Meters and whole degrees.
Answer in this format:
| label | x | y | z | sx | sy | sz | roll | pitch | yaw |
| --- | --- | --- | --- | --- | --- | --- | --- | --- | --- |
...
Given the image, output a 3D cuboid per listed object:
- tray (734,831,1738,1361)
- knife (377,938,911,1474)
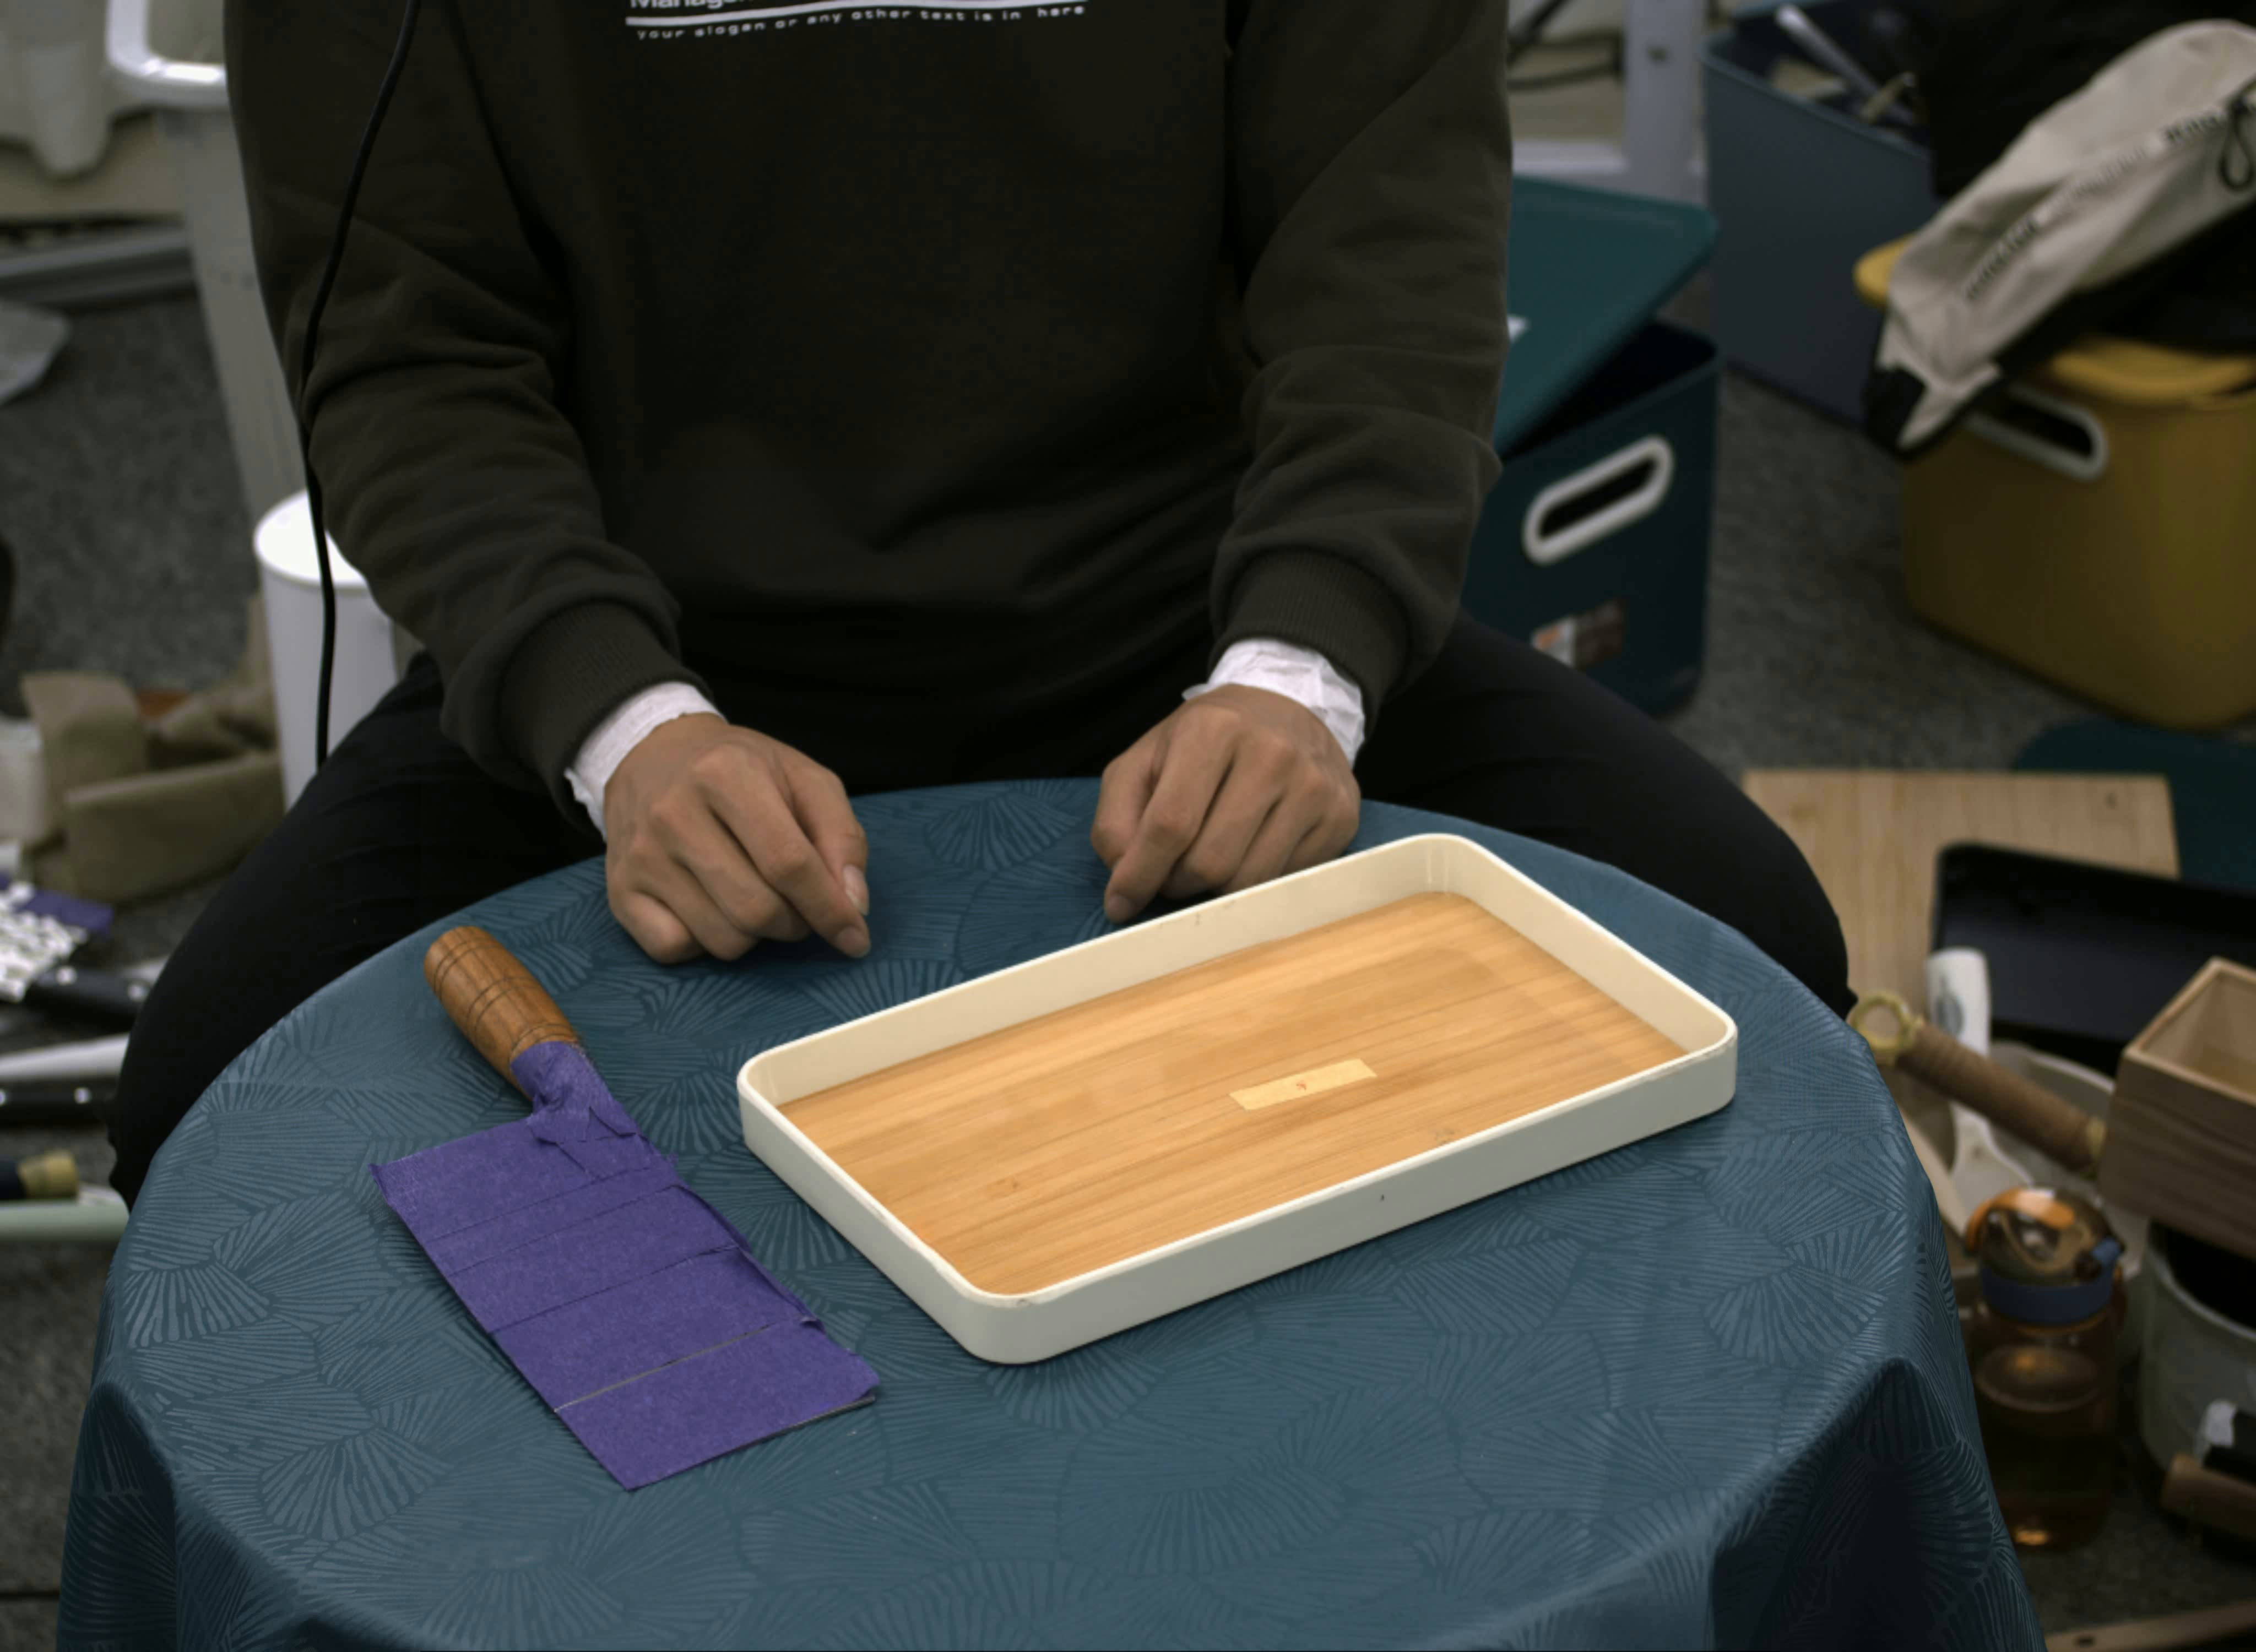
| label | x | y | z | sx | sy | sz | roll | pitch | yaw |
| --- | --- | --- | --- | --- | --- | --- | --- | --- | --- |
| tray | 0.037 | 0.086 | 1.897 | 0.302 | 0.027 | 0.192 | -18 | 30 | -26 |
| knife | -0.189 | 0.121 | 1.851 | 0.104 | 0.032 | 0.316 | -16 | 31 | -26 |
